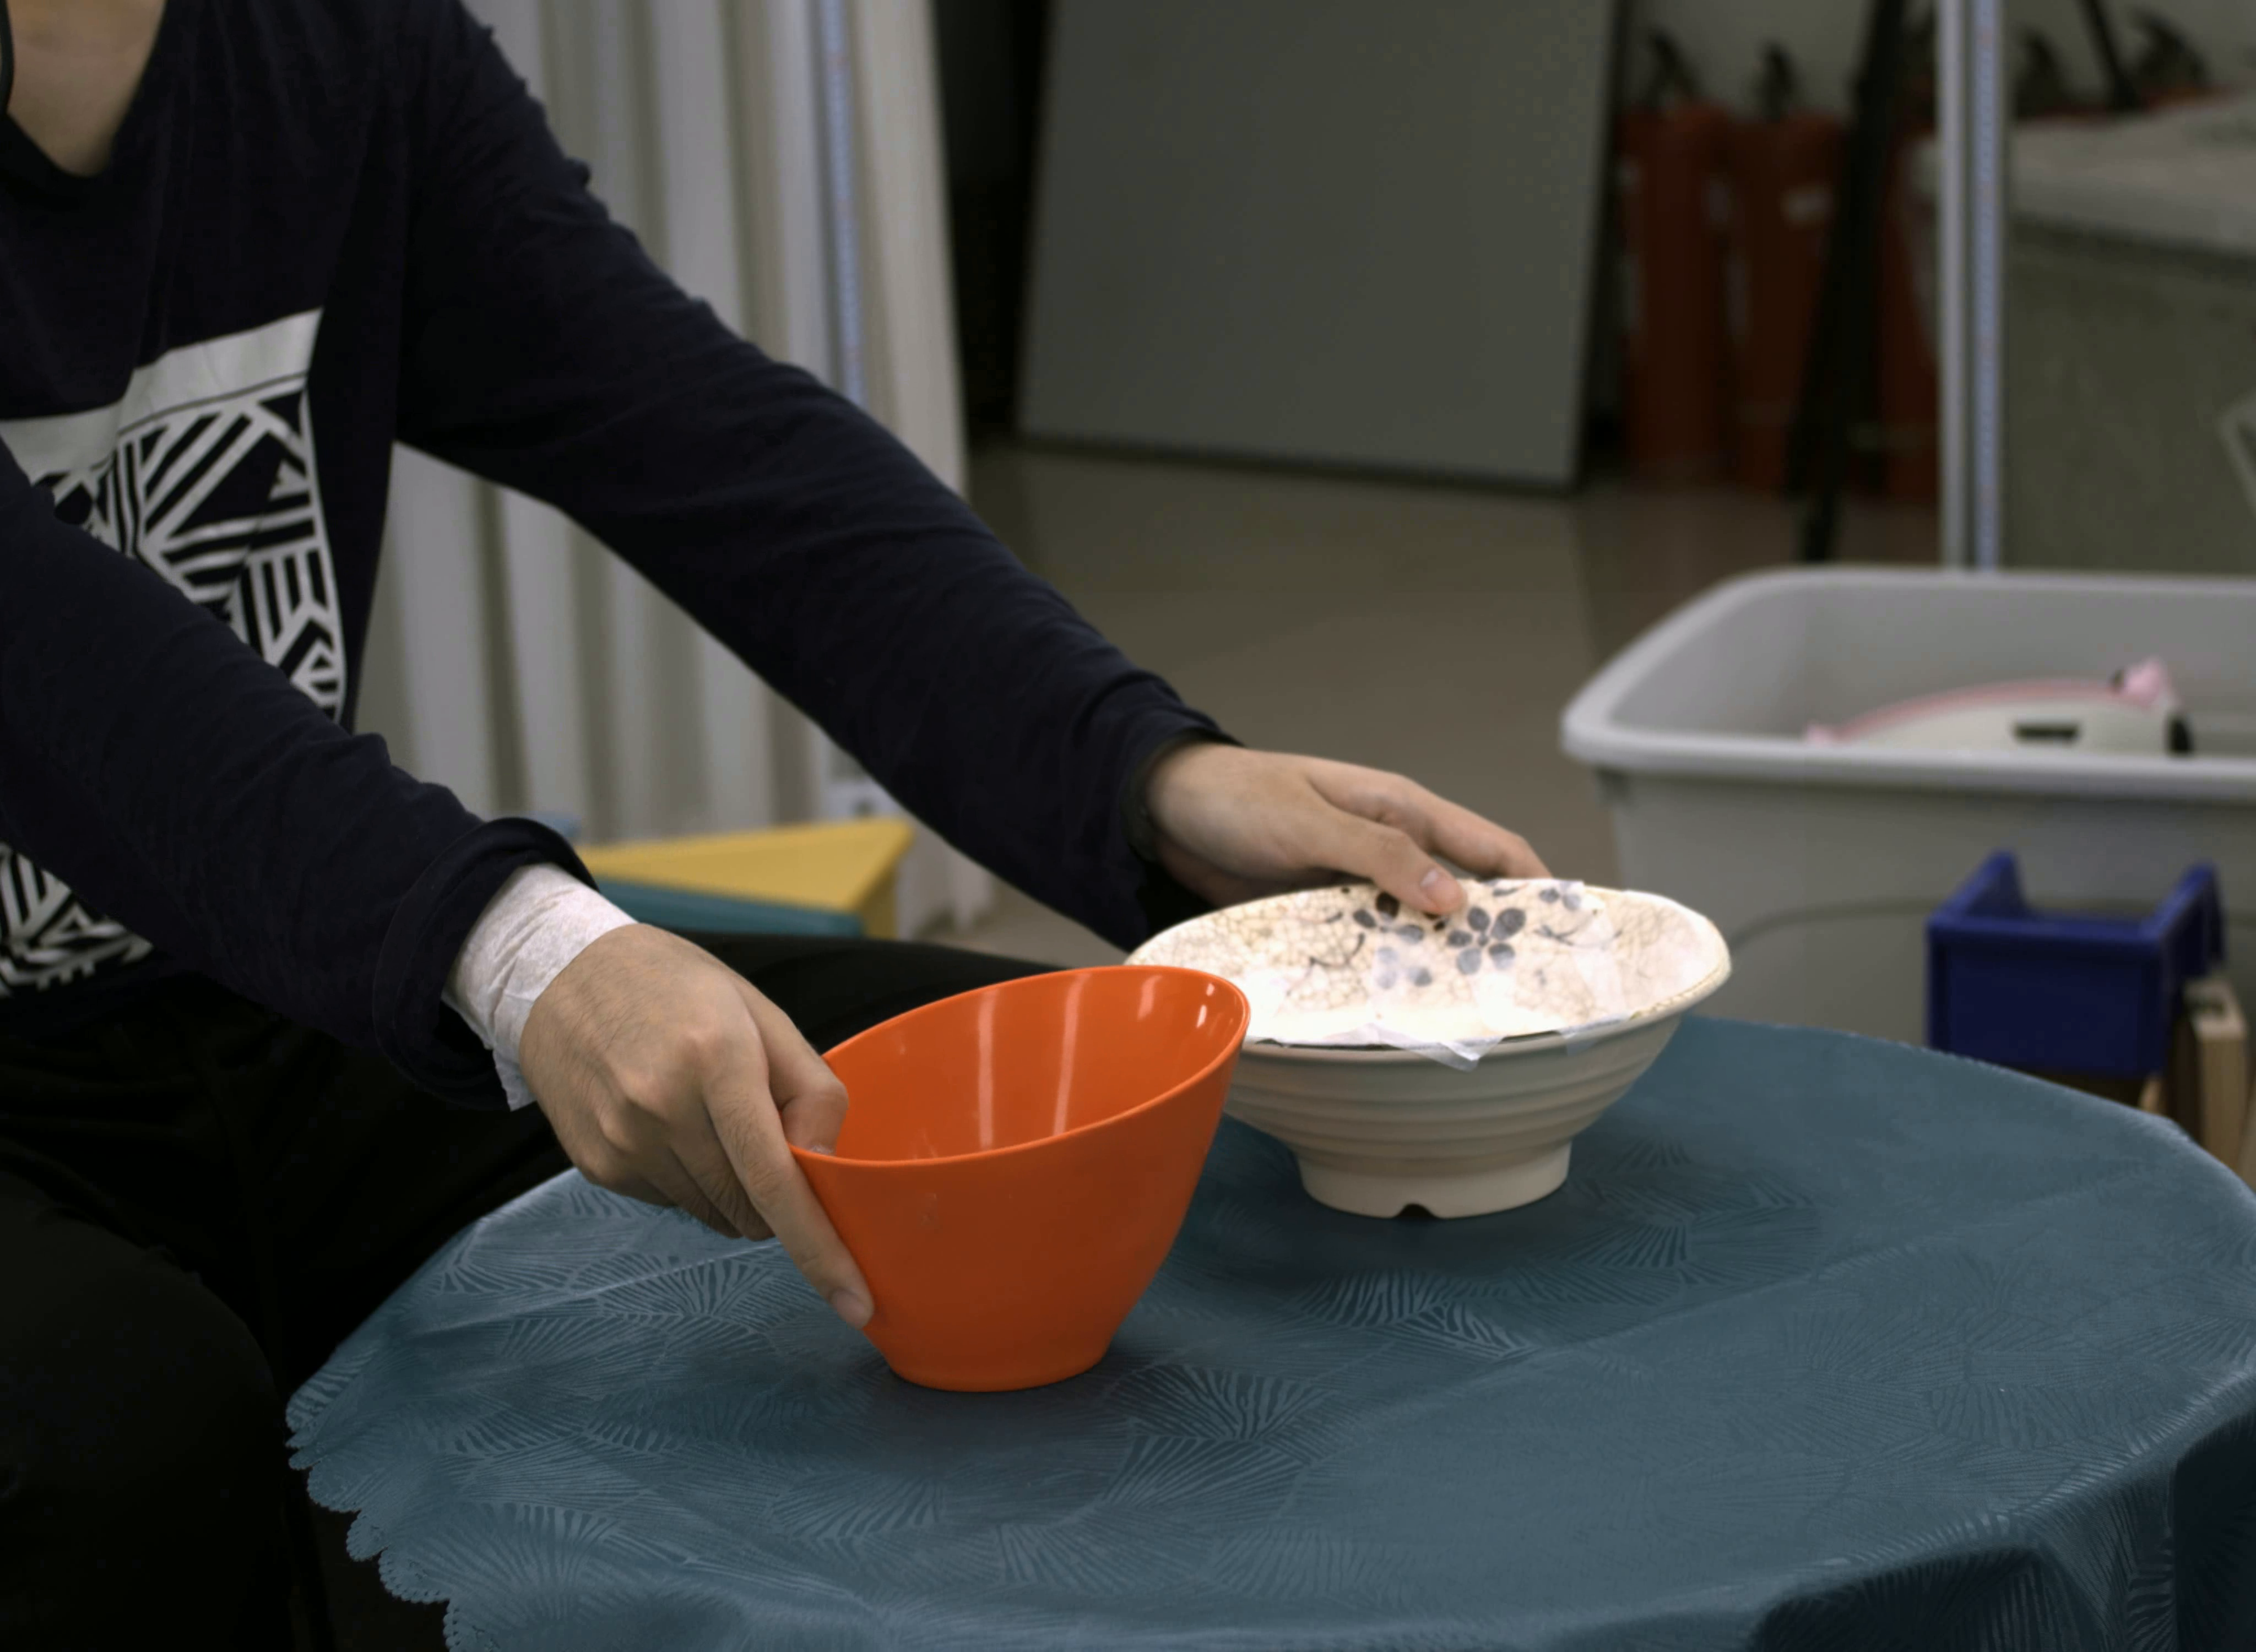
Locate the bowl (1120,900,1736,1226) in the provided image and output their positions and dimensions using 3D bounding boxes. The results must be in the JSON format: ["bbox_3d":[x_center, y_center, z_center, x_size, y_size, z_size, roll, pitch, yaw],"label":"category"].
[{"bbox_3d":[0.099,0.082,1.751,0.201,0.079,0.204,-5,10,0],"label":"bowl"}]

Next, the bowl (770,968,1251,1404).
[{"bbox_3d":[-0.031,0.111,1.616,0.146,0.106,0.148,-6,13,0],"label":"bowl"}]
